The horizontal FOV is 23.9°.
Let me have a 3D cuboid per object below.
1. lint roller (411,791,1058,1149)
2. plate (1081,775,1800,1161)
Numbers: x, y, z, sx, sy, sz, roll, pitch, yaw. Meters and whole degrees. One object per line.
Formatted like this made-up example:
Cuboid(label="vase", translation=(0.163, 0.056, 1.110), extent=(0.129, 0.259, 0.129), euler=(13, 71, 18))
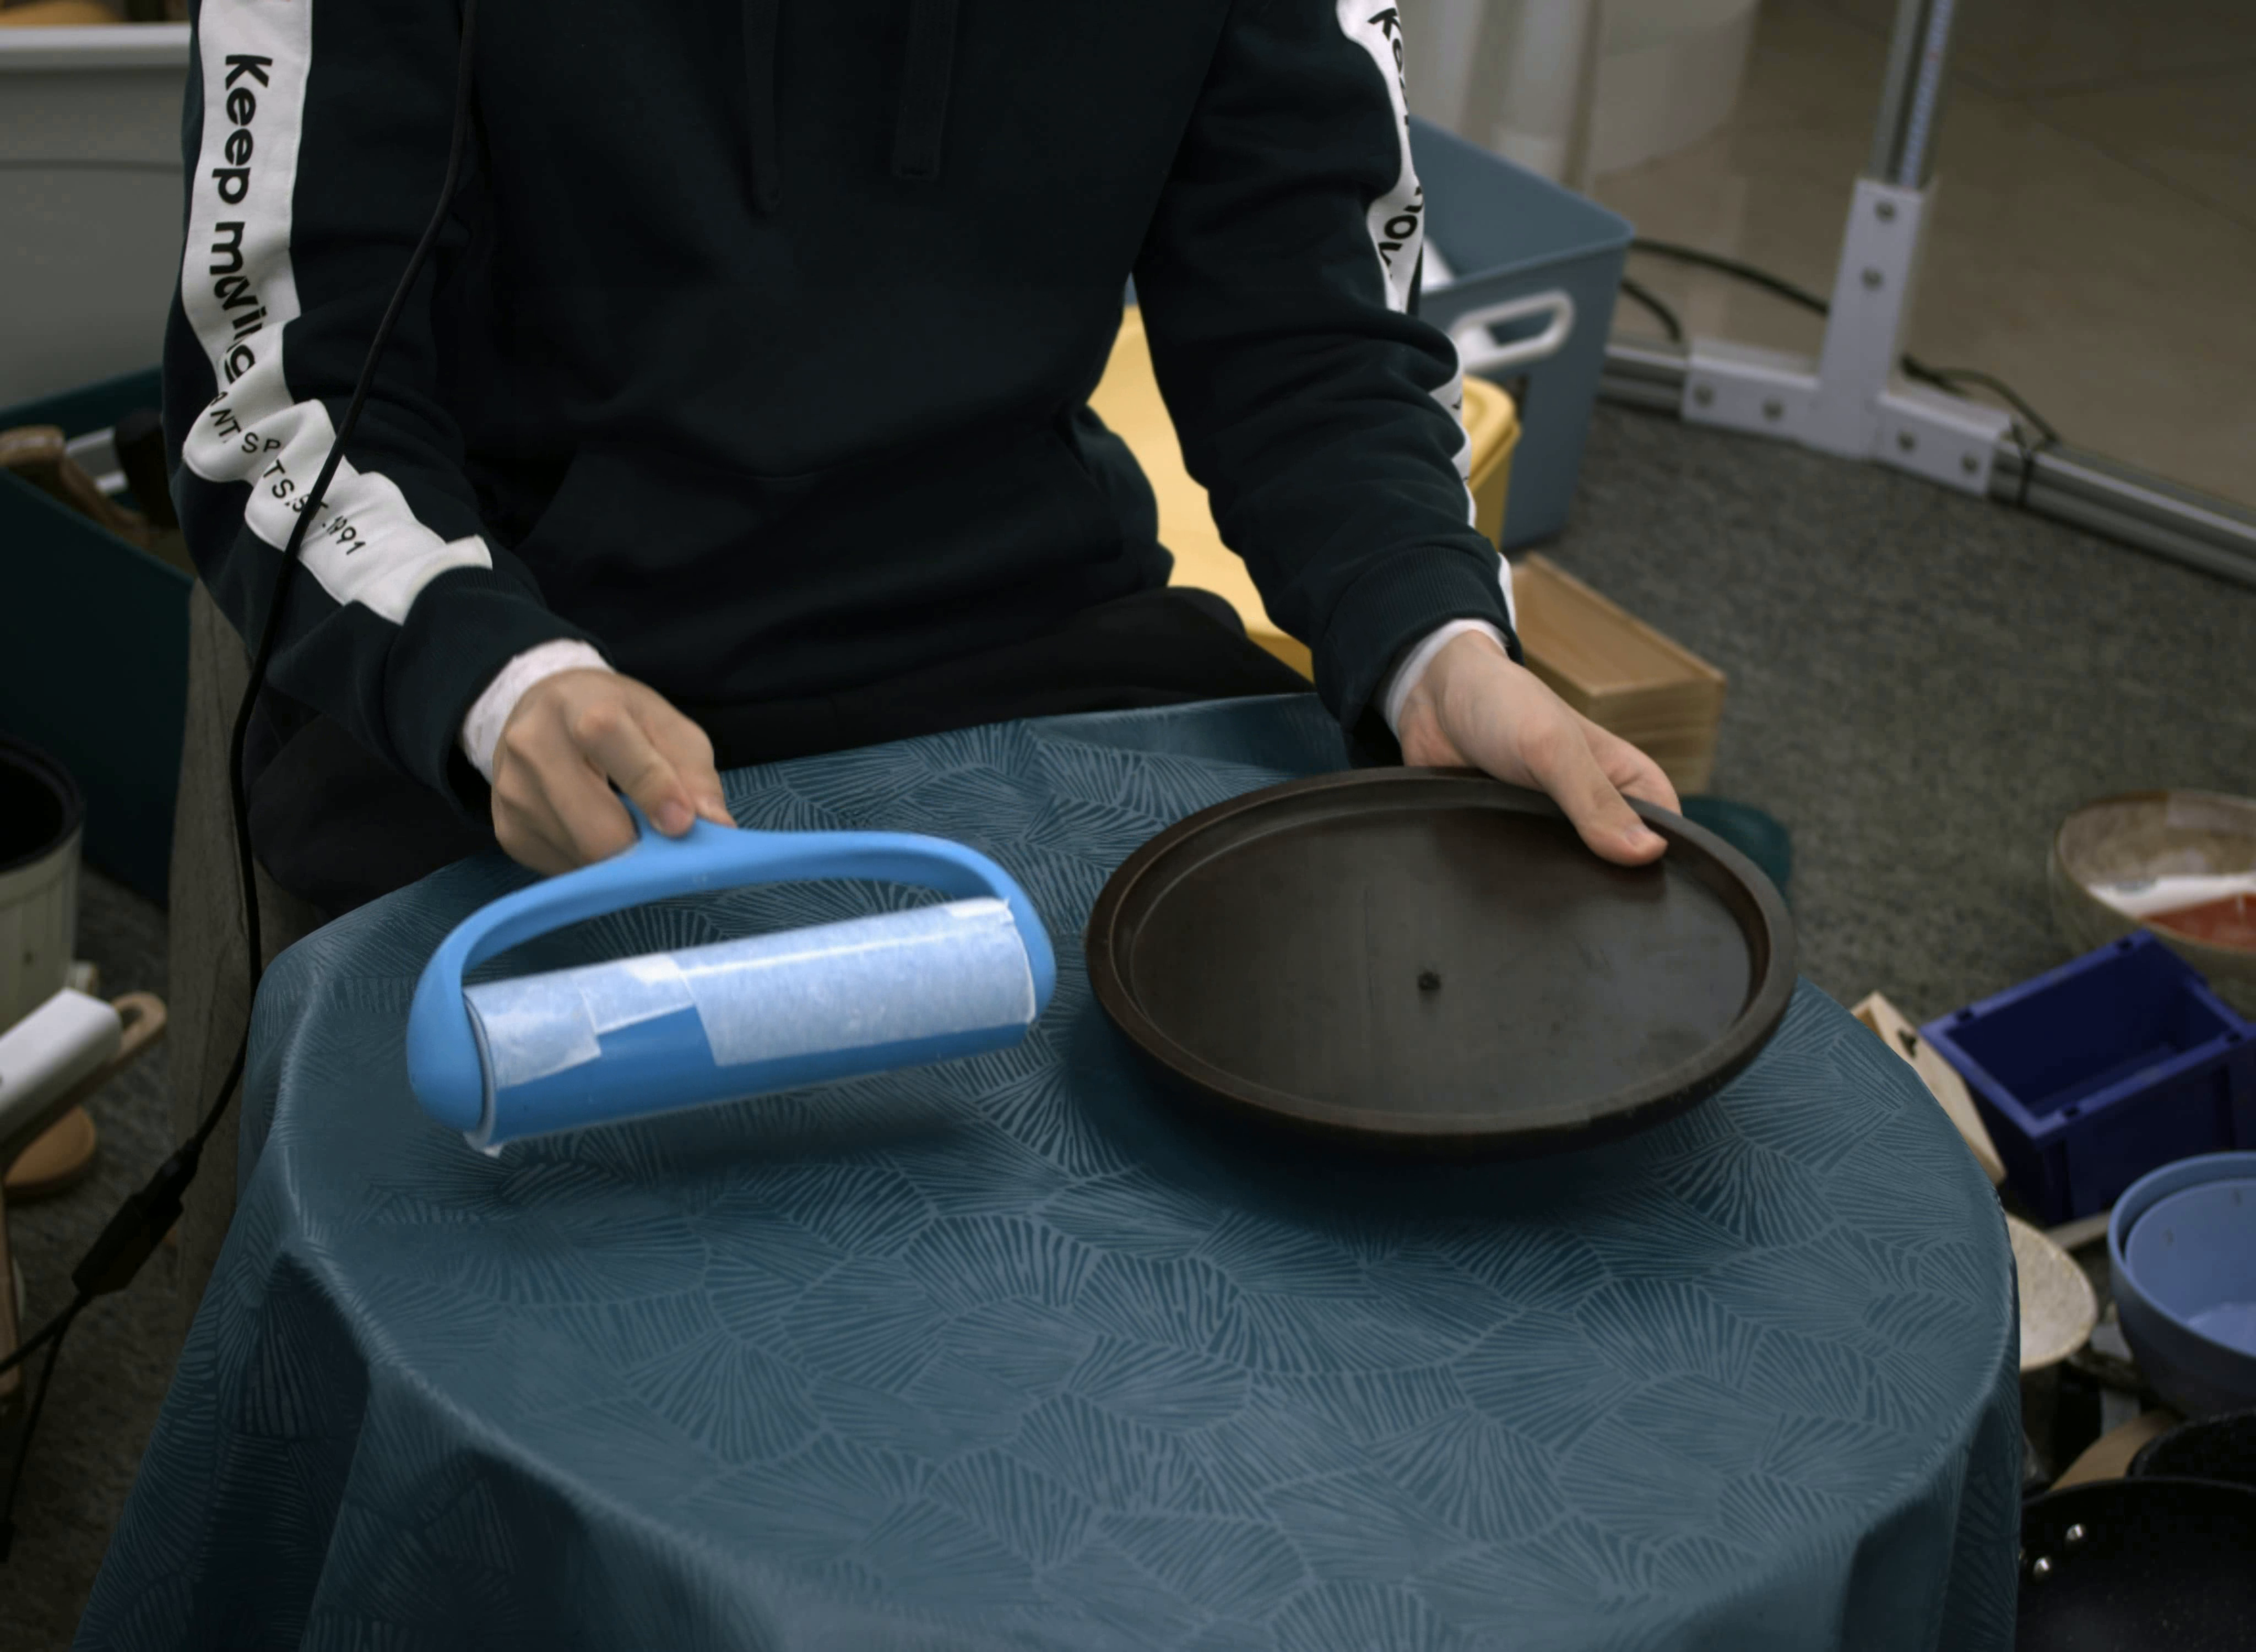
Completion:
Cuboid(label="lint roller", translation=(-0.155, 0.028, 1.814), extent=(0.227, 0.067, 0.182), euler=(-13, 41, -24))
Cuboid(label="plate", translation=(0.109, 0.048, 1.877), extent=(0.254, 0.029, 0.256), euler=(-1, 29, 0))
